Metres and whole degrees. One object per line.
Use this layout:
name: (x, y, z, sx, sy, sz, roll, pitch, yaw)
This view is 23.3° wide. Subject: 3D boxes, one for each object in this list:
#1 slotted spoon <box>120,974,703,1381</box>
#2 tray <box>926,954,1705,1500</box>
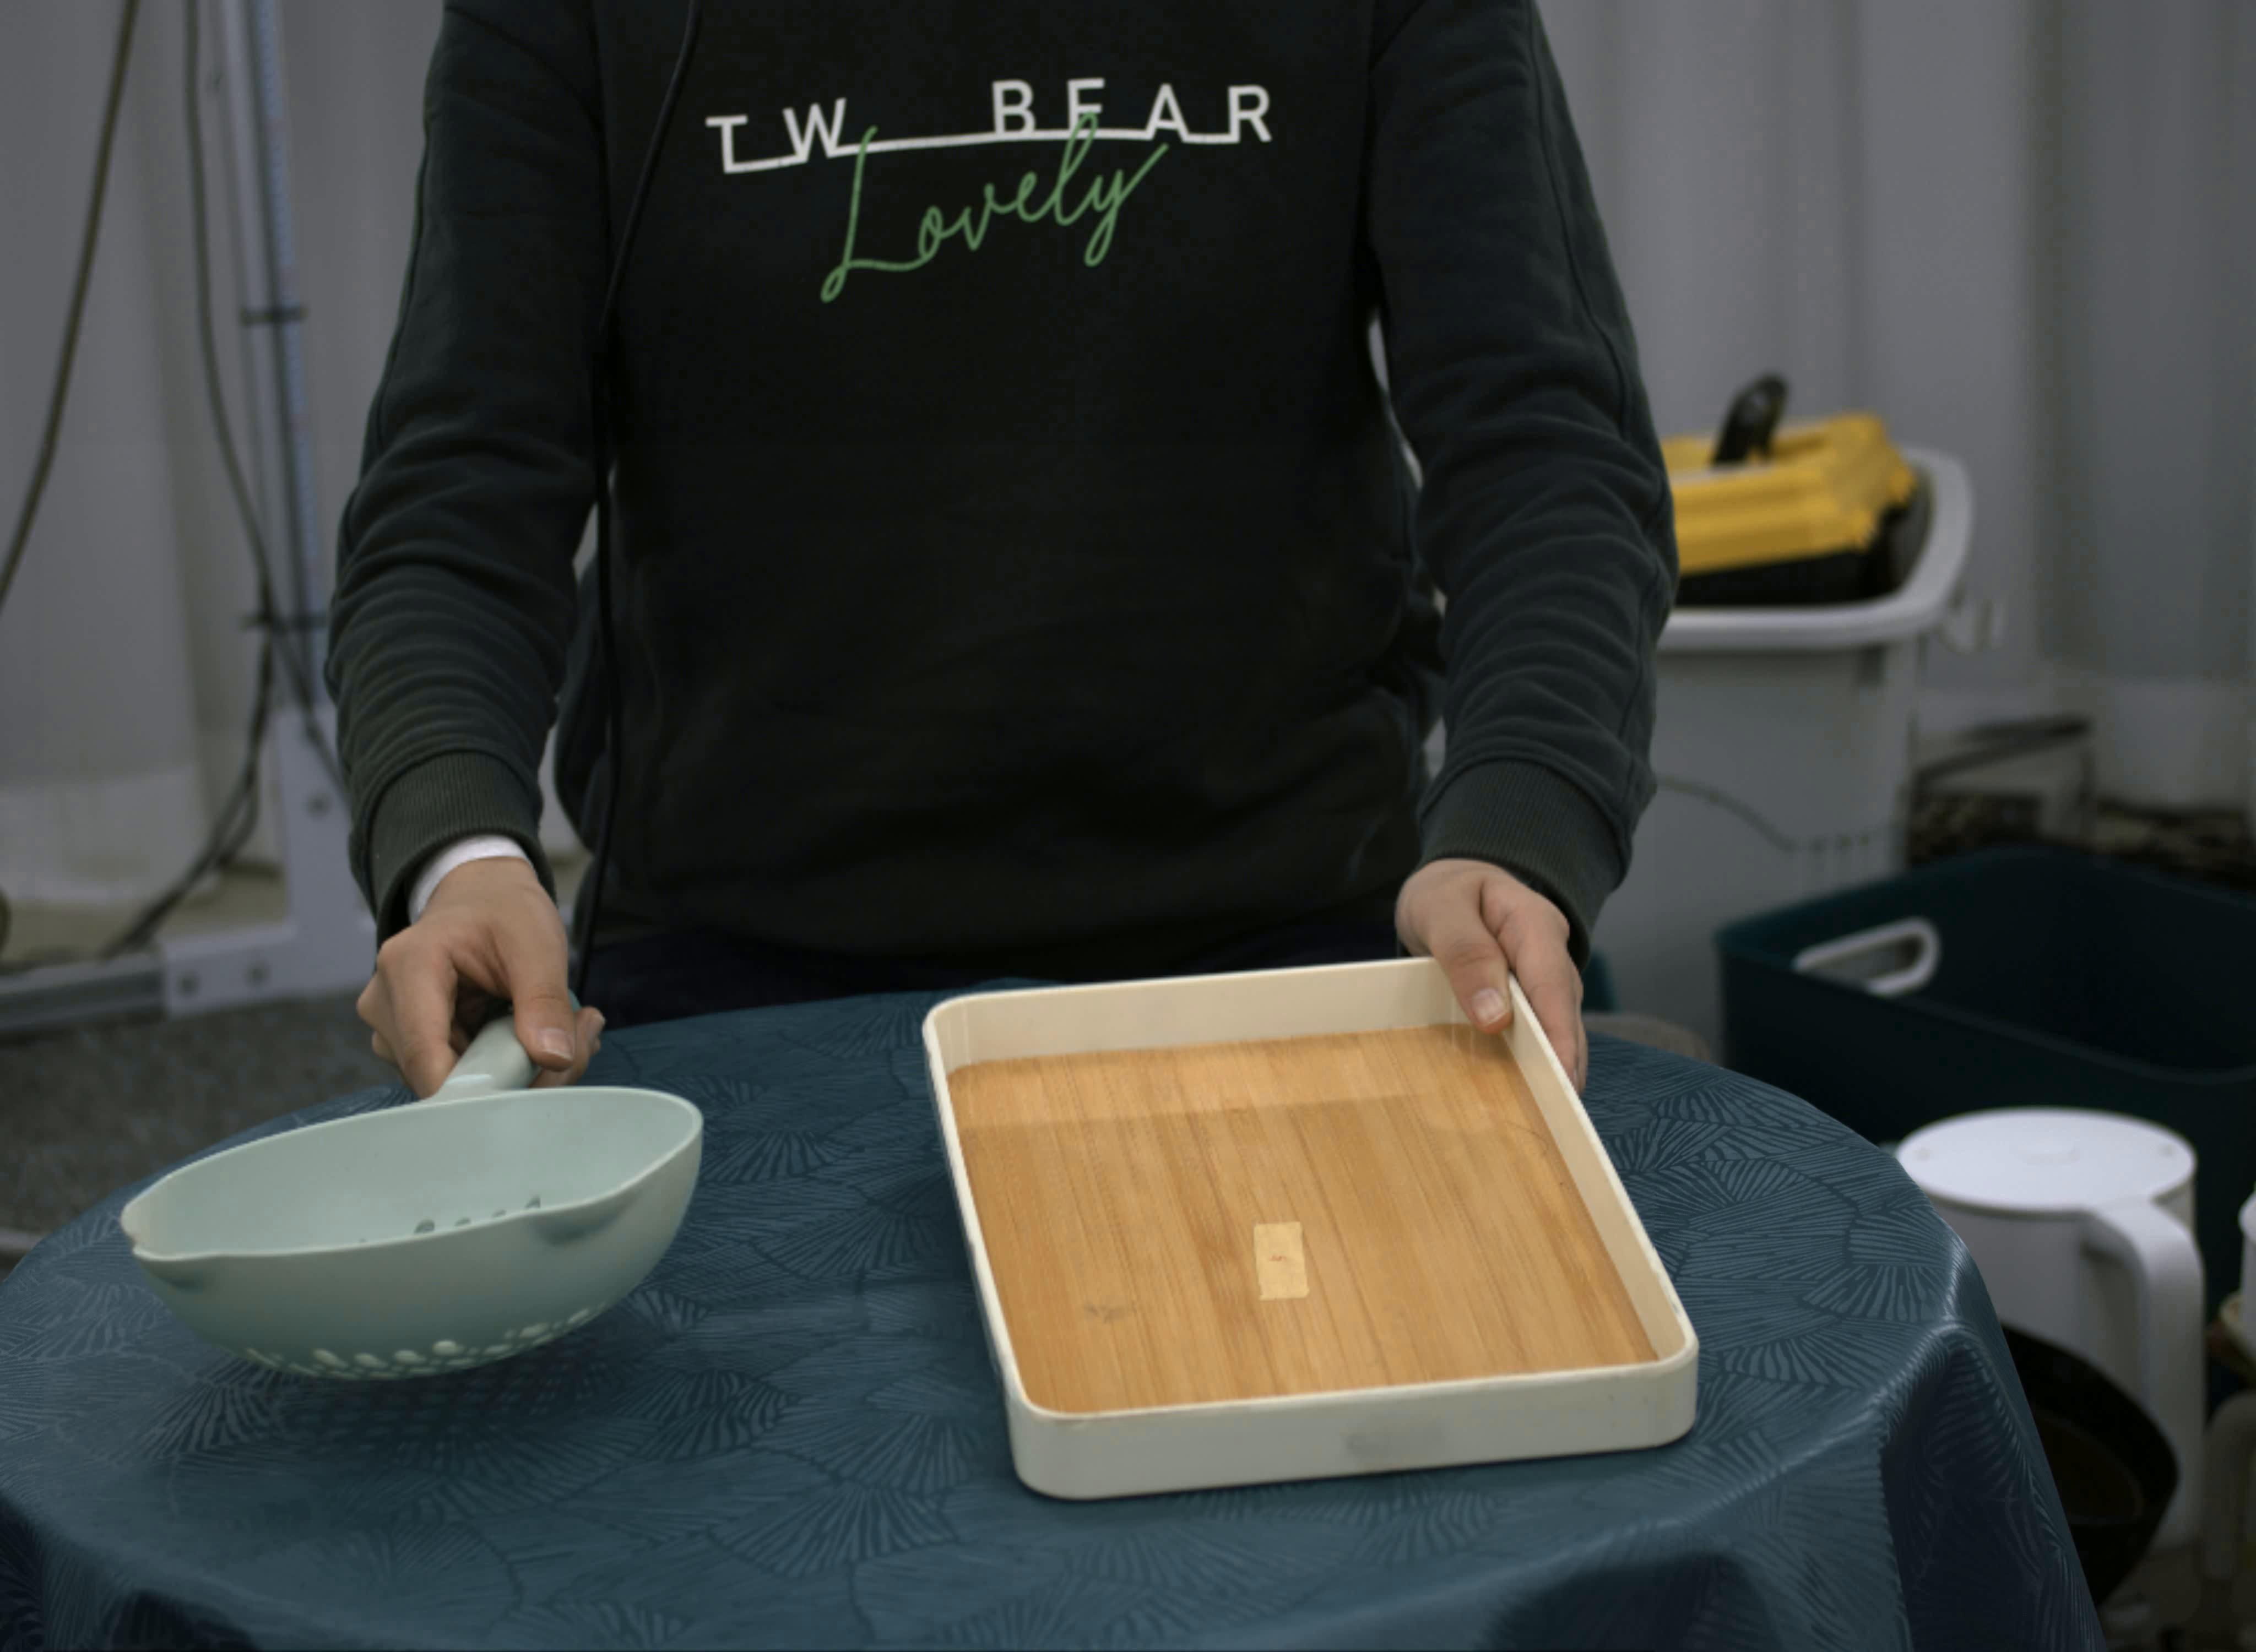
slotted spoon: (-0.199, 0.090, 1.665, 0.169, 0.075, 0.362, -8, 18, 3)
tray: (0.047, 0.112, 1.605, 0.191, 0.027, 0.303, -4, 21, -6)
